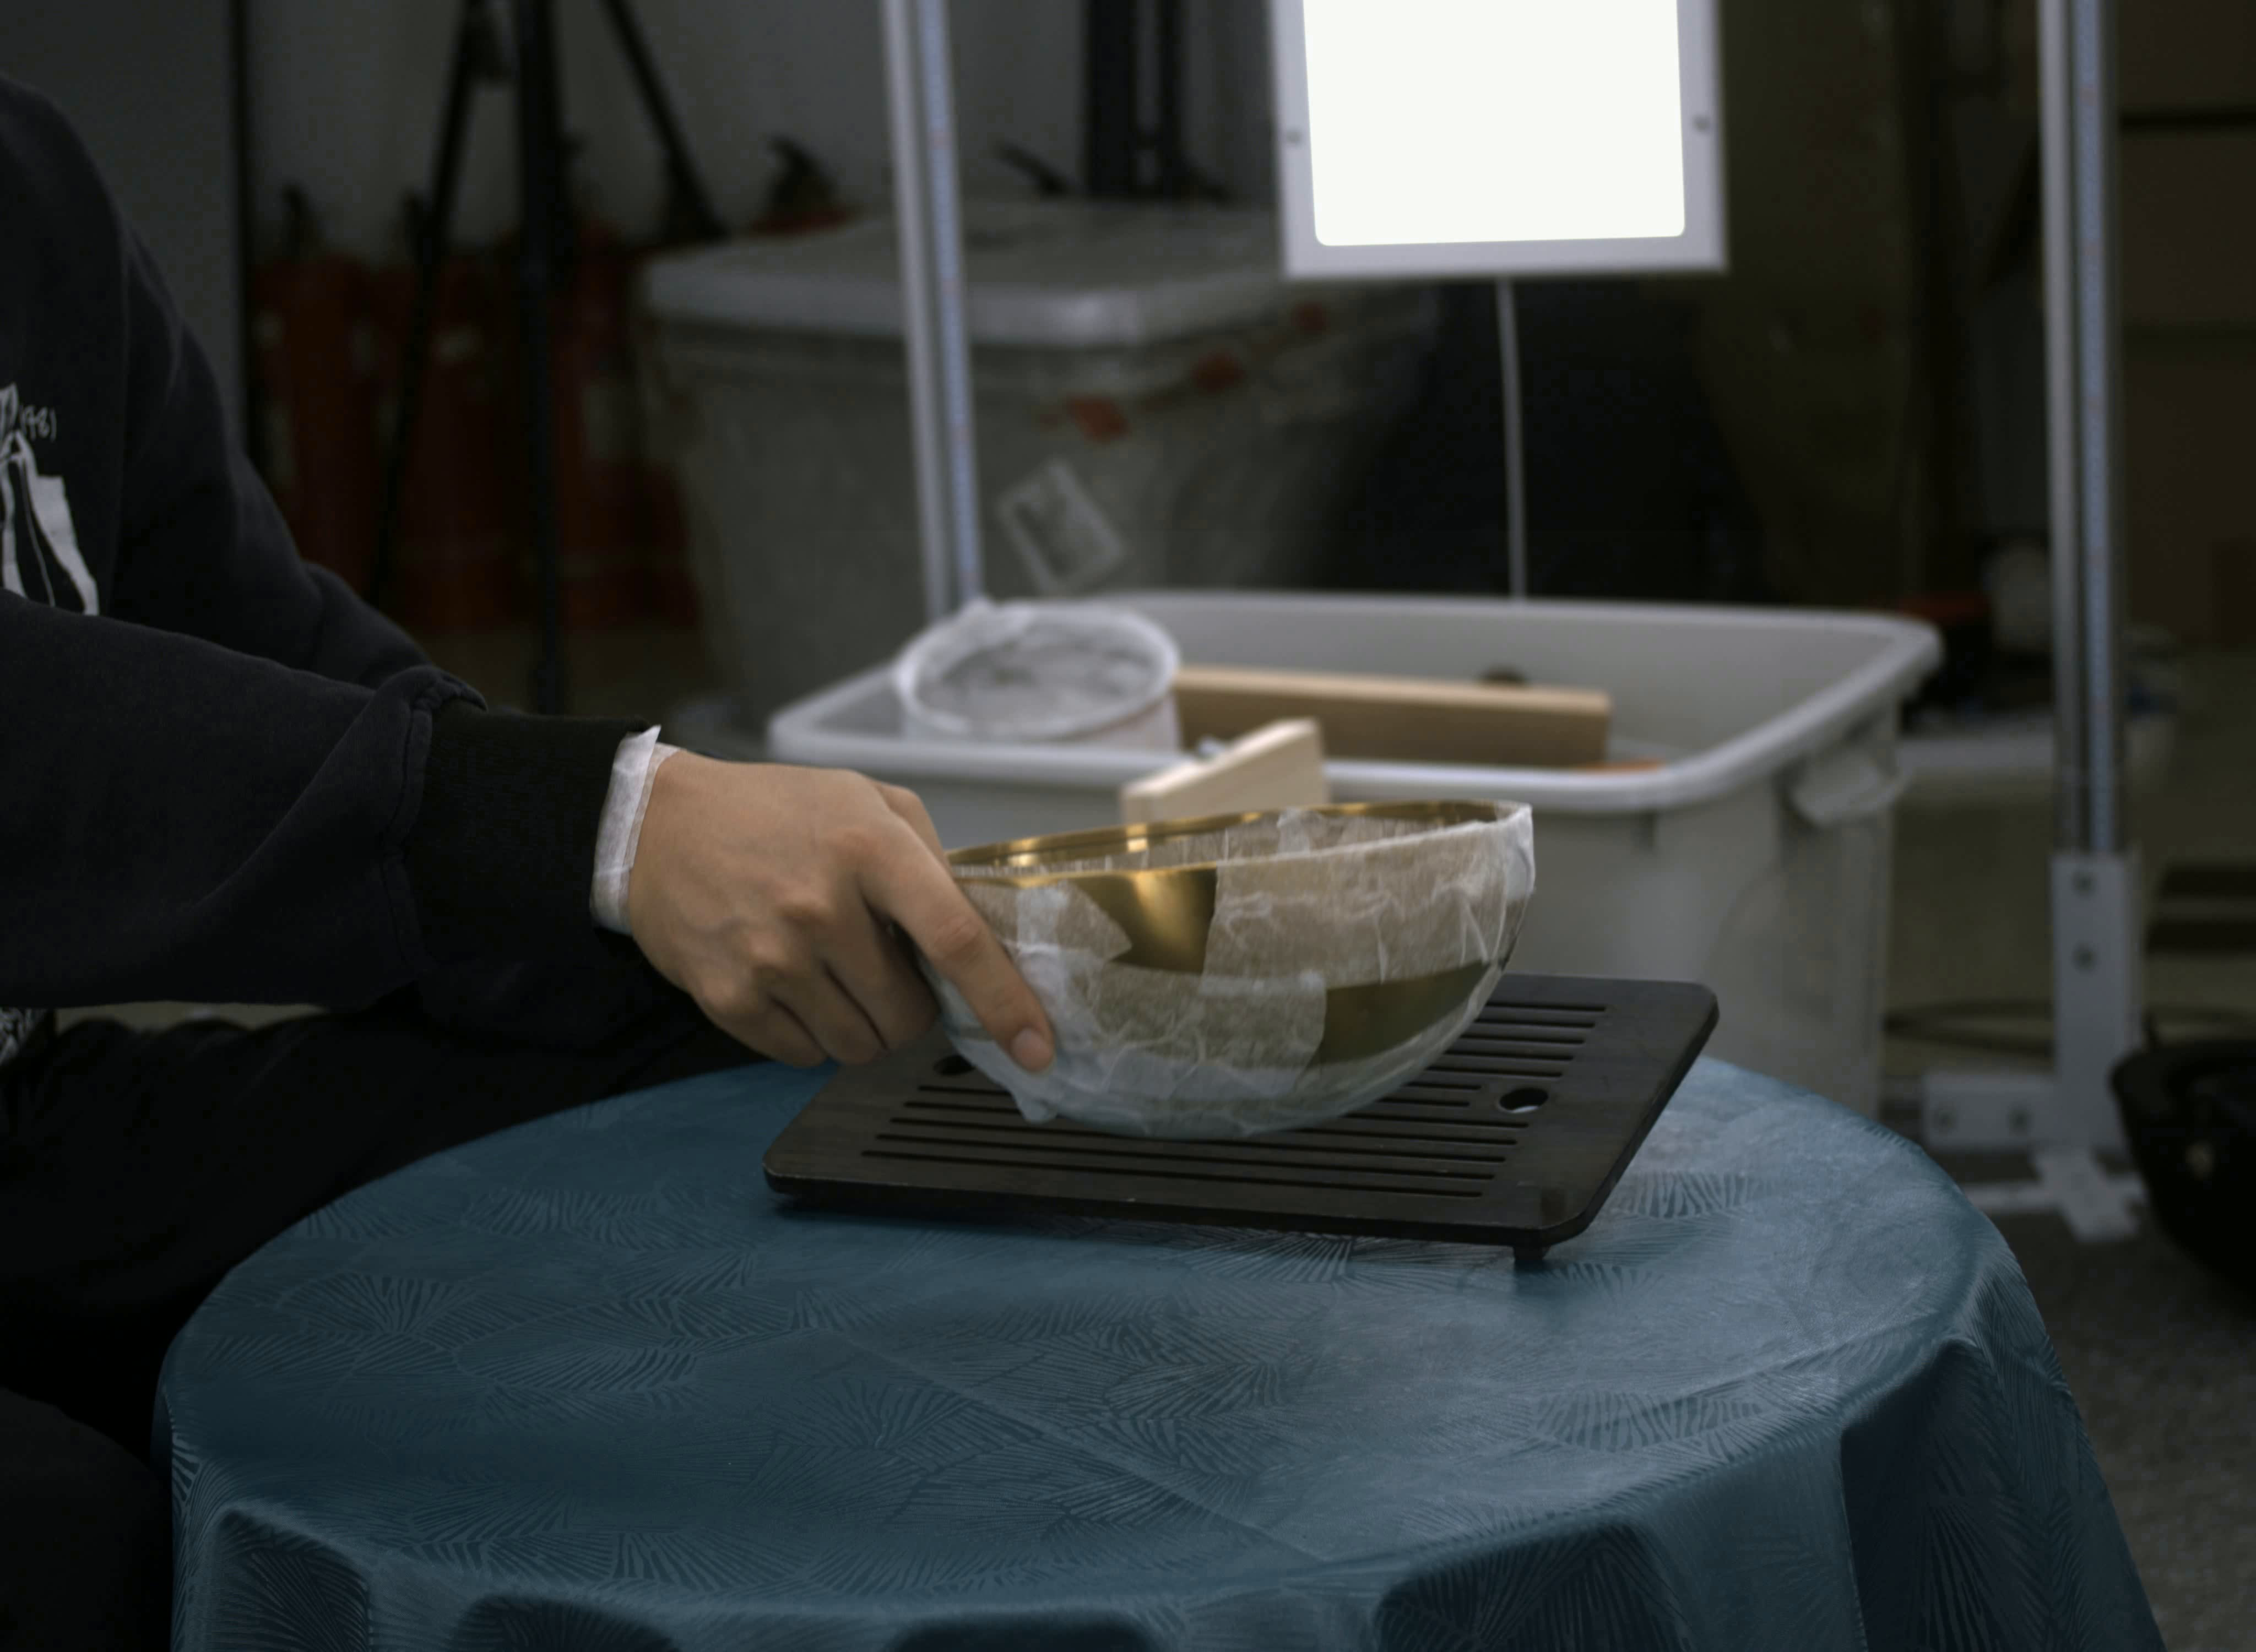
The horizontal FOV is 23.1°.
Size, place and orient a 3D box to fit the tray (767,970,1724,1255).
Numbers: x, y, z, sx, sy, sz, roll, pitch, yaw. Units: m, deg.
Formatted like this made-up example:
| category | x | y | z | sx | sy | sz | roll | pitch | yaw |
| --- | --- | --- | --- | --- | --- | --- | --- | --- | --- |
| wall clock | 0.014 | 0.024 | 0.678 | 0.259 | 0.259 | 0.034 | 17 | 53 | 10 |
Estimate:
| category | x | y | z | sx | sy | sz | roll | pitch | yaw |
| --- | --- | --- | --- | --- | --- | --- | --- | --- | --- |
| tray | 0.041 | 0.093 | 1.910 | 0.311 | 0.018 | 0.167 | 2 | 28 | 27 |

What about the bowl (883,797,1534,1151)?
| category | x | y | z | sx | sy | sz | roll | pitch | yaw |
| --- | --- | --- | --- | --- | --- | --- | --- | --- | --- |
| bowl | 0.027 | 0.049 | 1.698 | 0.214 | 0.095 | 0.215 | -6 | 5 | -1 |
